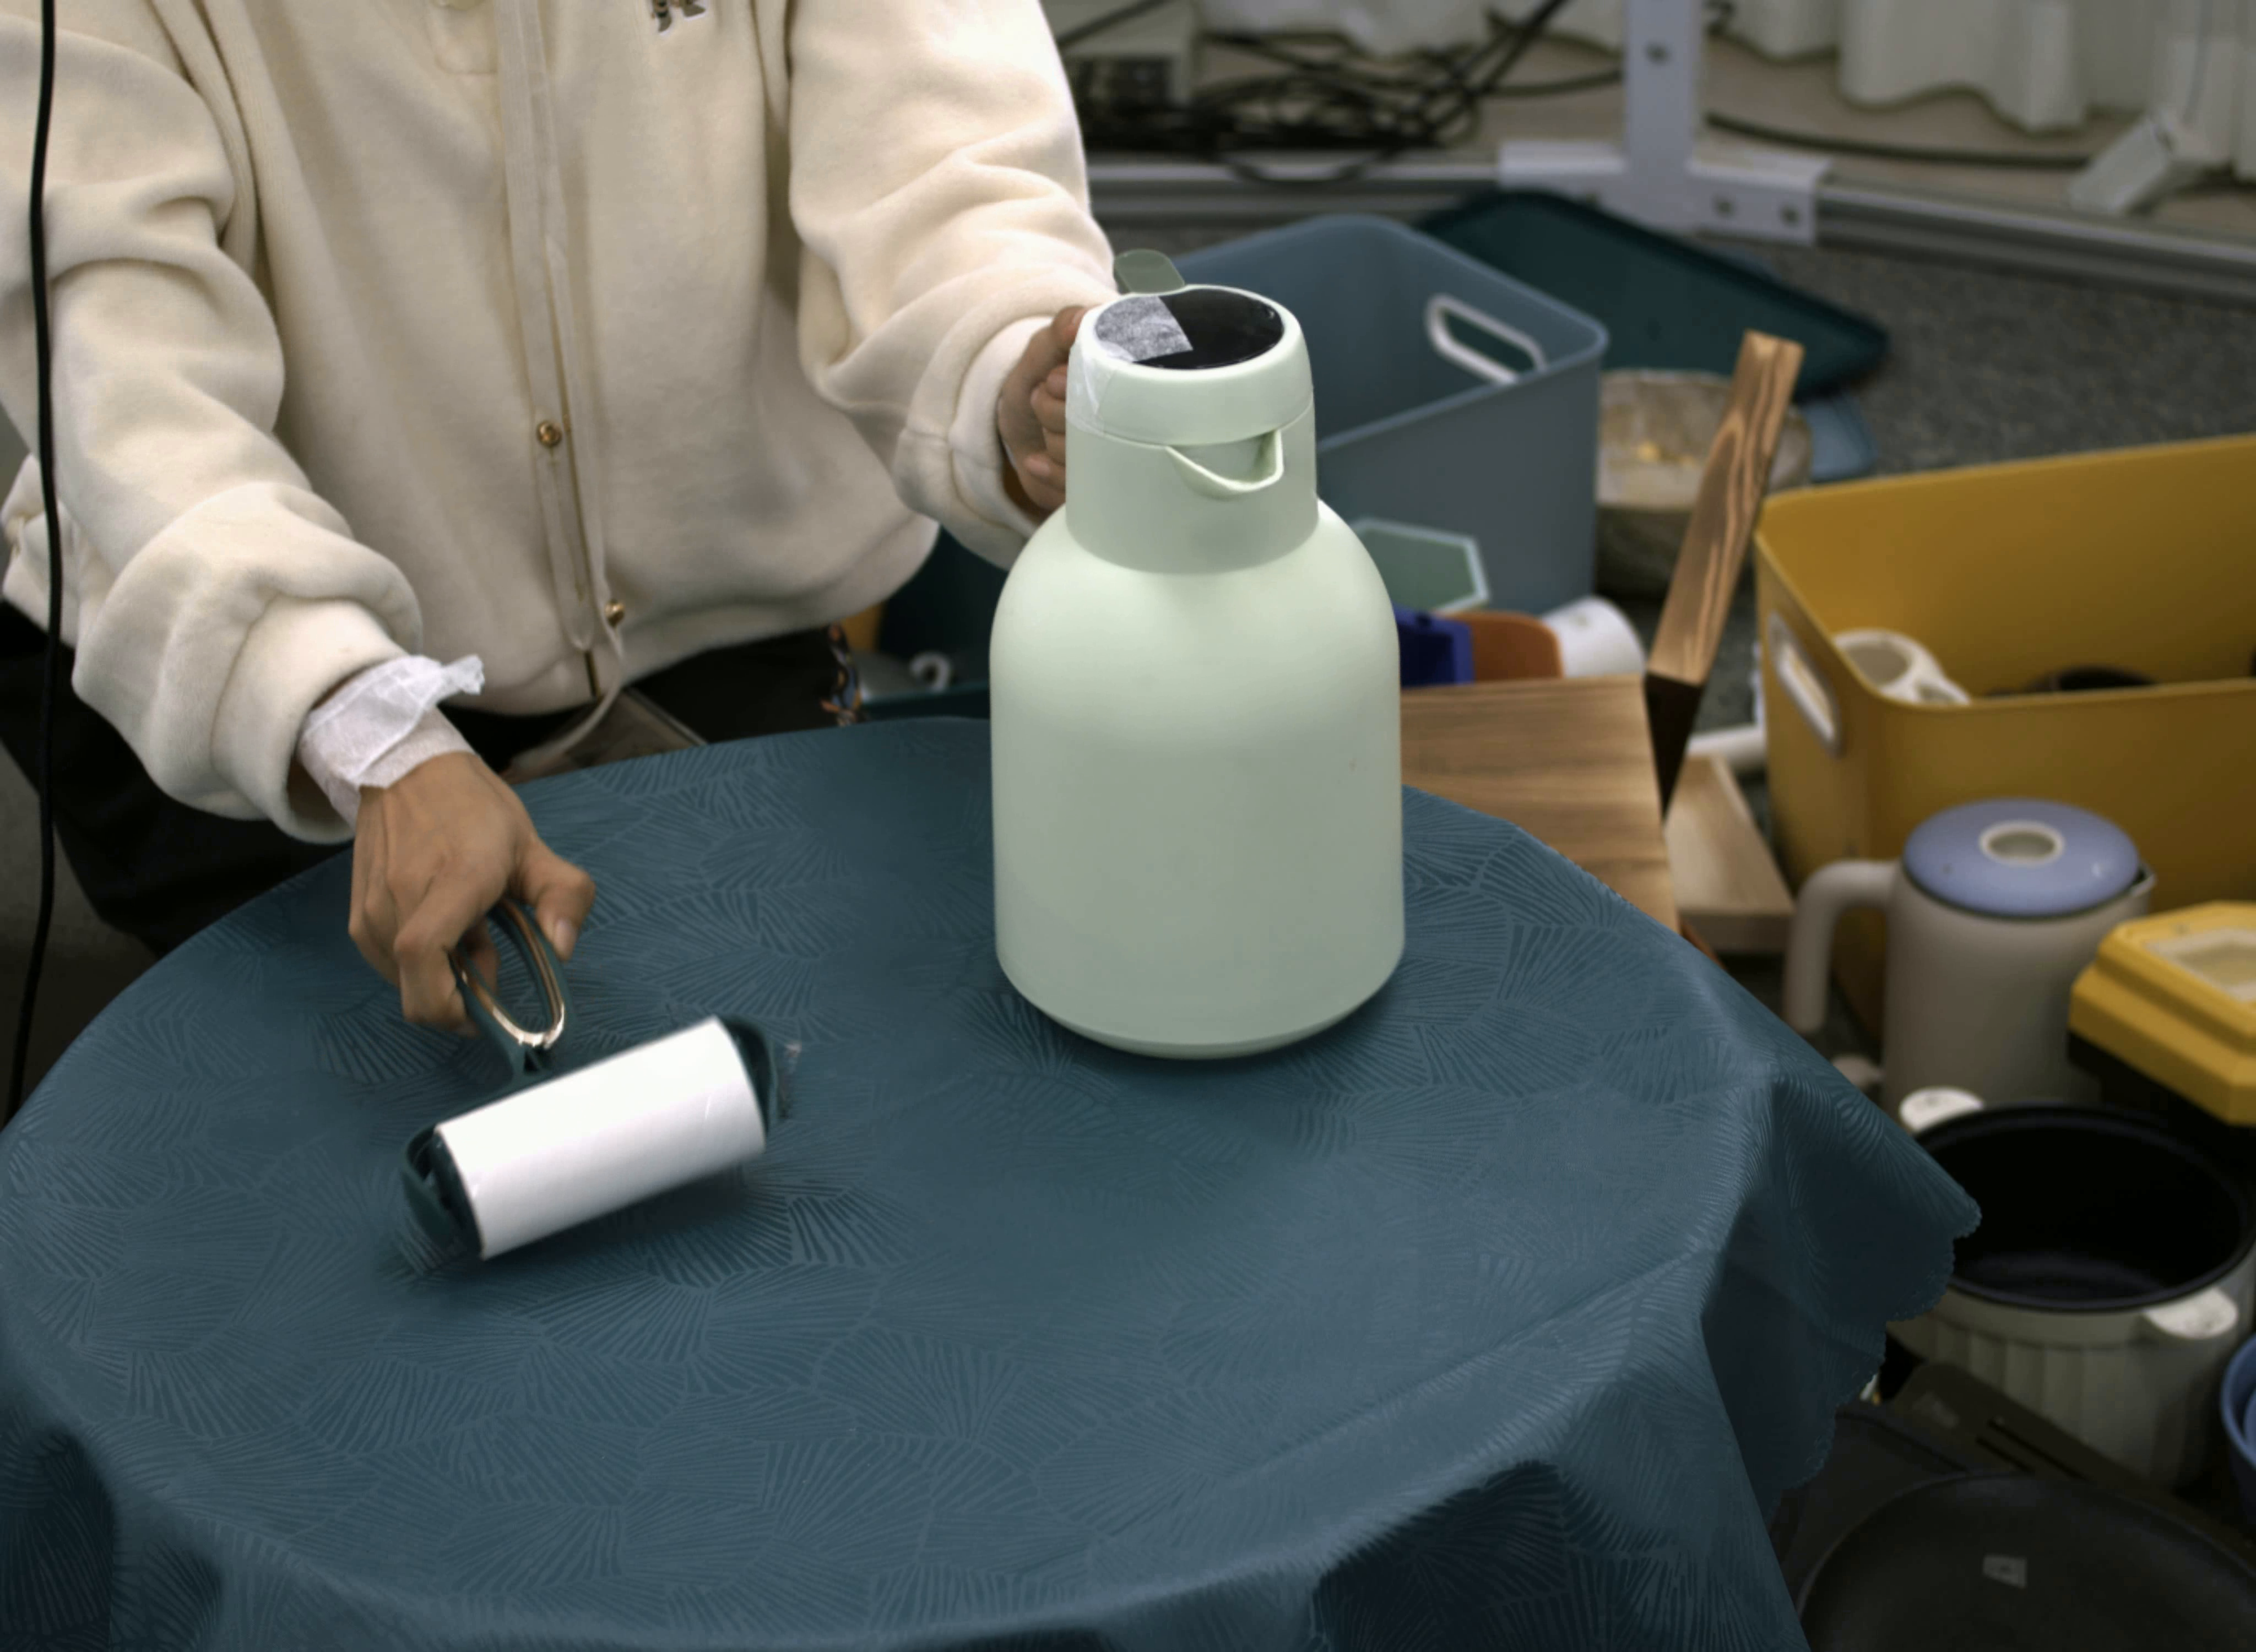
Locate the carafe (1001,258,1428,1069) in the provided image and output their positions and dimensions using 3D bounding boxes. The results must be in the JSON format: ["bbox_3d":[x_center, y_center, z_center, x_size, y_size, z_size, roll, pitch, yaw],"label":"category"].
[{"bbox_3d":[0.022,-0.061,1.941,0.144,0.254,0.188,-10,25,-12],"label":"carafe"}]

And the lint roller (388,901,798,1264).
[{"bbox_3d":[-0.201,0.067,1.891,0.134,0.047,0.182,-17,43,-15],"label":"lint roller"}]
